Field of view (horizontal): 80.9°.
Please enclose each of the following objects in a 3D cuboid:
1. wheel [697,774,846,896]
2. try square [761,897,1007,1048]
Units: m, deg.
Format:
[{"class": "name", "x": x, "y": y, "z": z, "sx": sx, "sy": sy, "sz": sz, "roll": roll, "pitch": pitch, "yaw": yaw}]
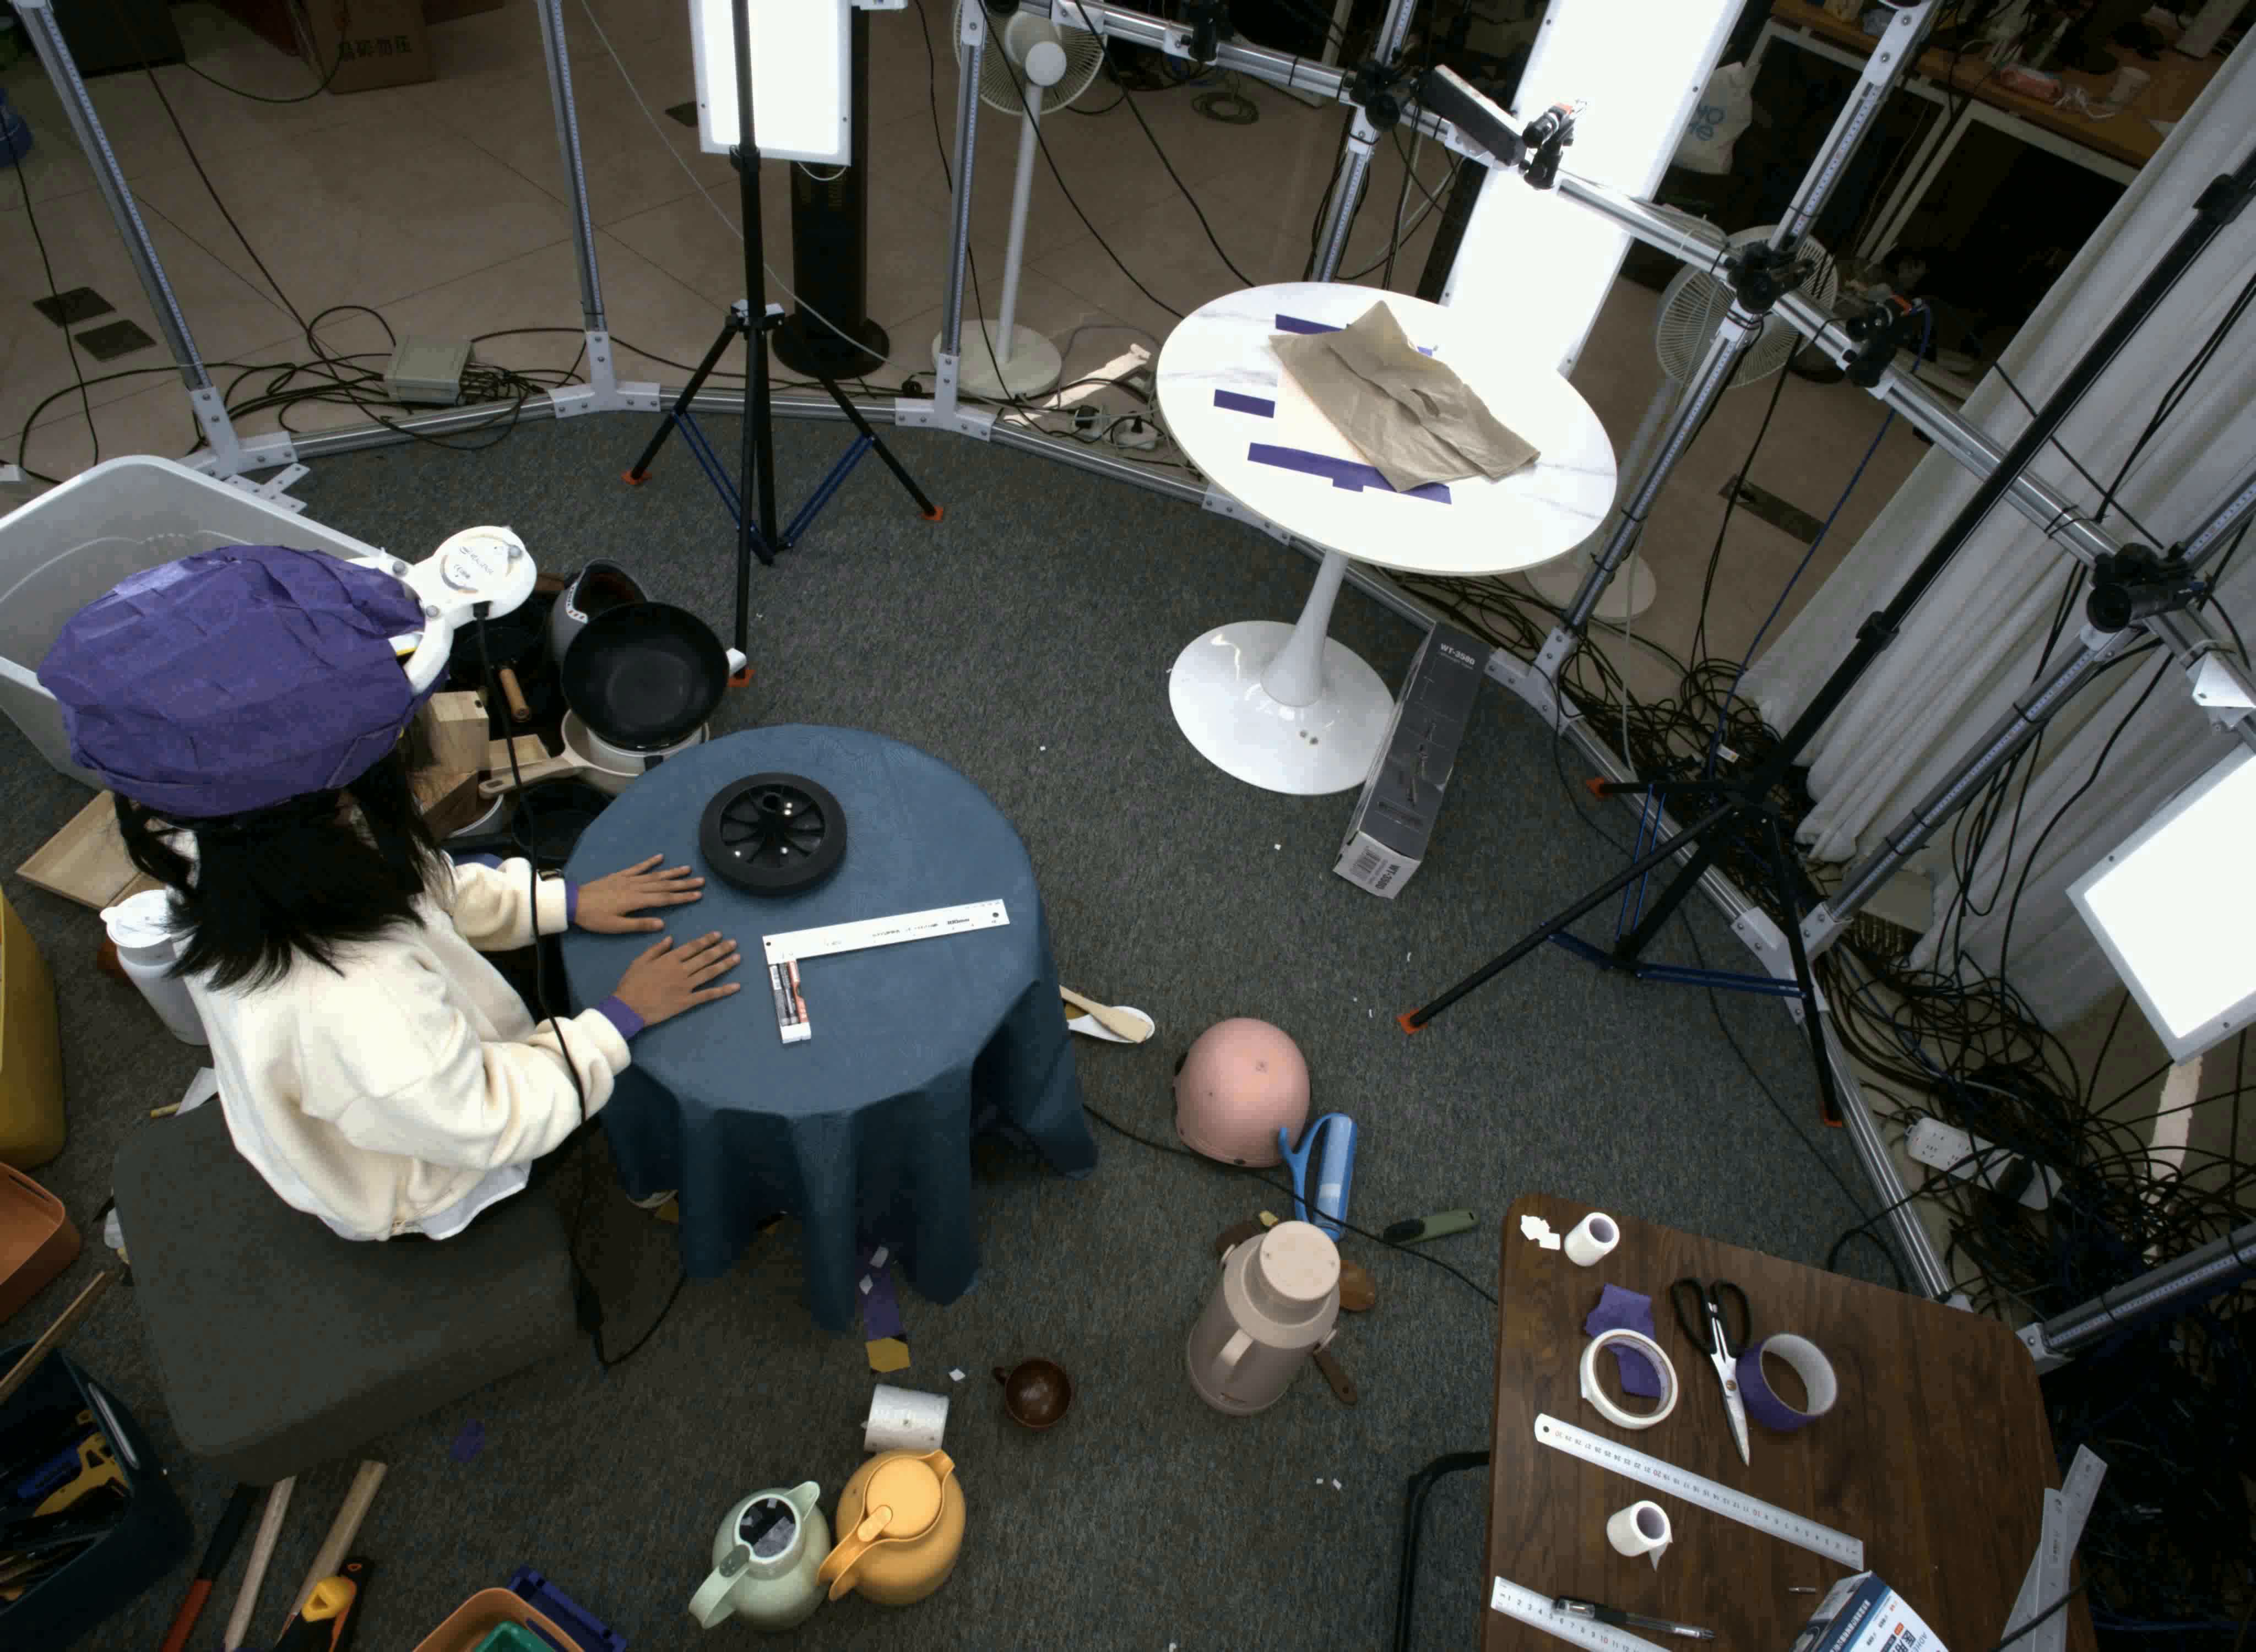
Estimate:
[{"class": "wheel", "x": -0.459, "y": -0.006, "z": 1.665, "sx": 0.188, "sy": 0.081, "sz": 0.185, "roll": -31, "pitch": 65, "yaw": -31}, {"class": "try square", "x": -0.291, "y": 0.175, "z": 1.622, "sx": 0.314, "sy": 0.016, "sz": 0.149, "roll": -8, "pitch": 60, "yaw": -22}]
